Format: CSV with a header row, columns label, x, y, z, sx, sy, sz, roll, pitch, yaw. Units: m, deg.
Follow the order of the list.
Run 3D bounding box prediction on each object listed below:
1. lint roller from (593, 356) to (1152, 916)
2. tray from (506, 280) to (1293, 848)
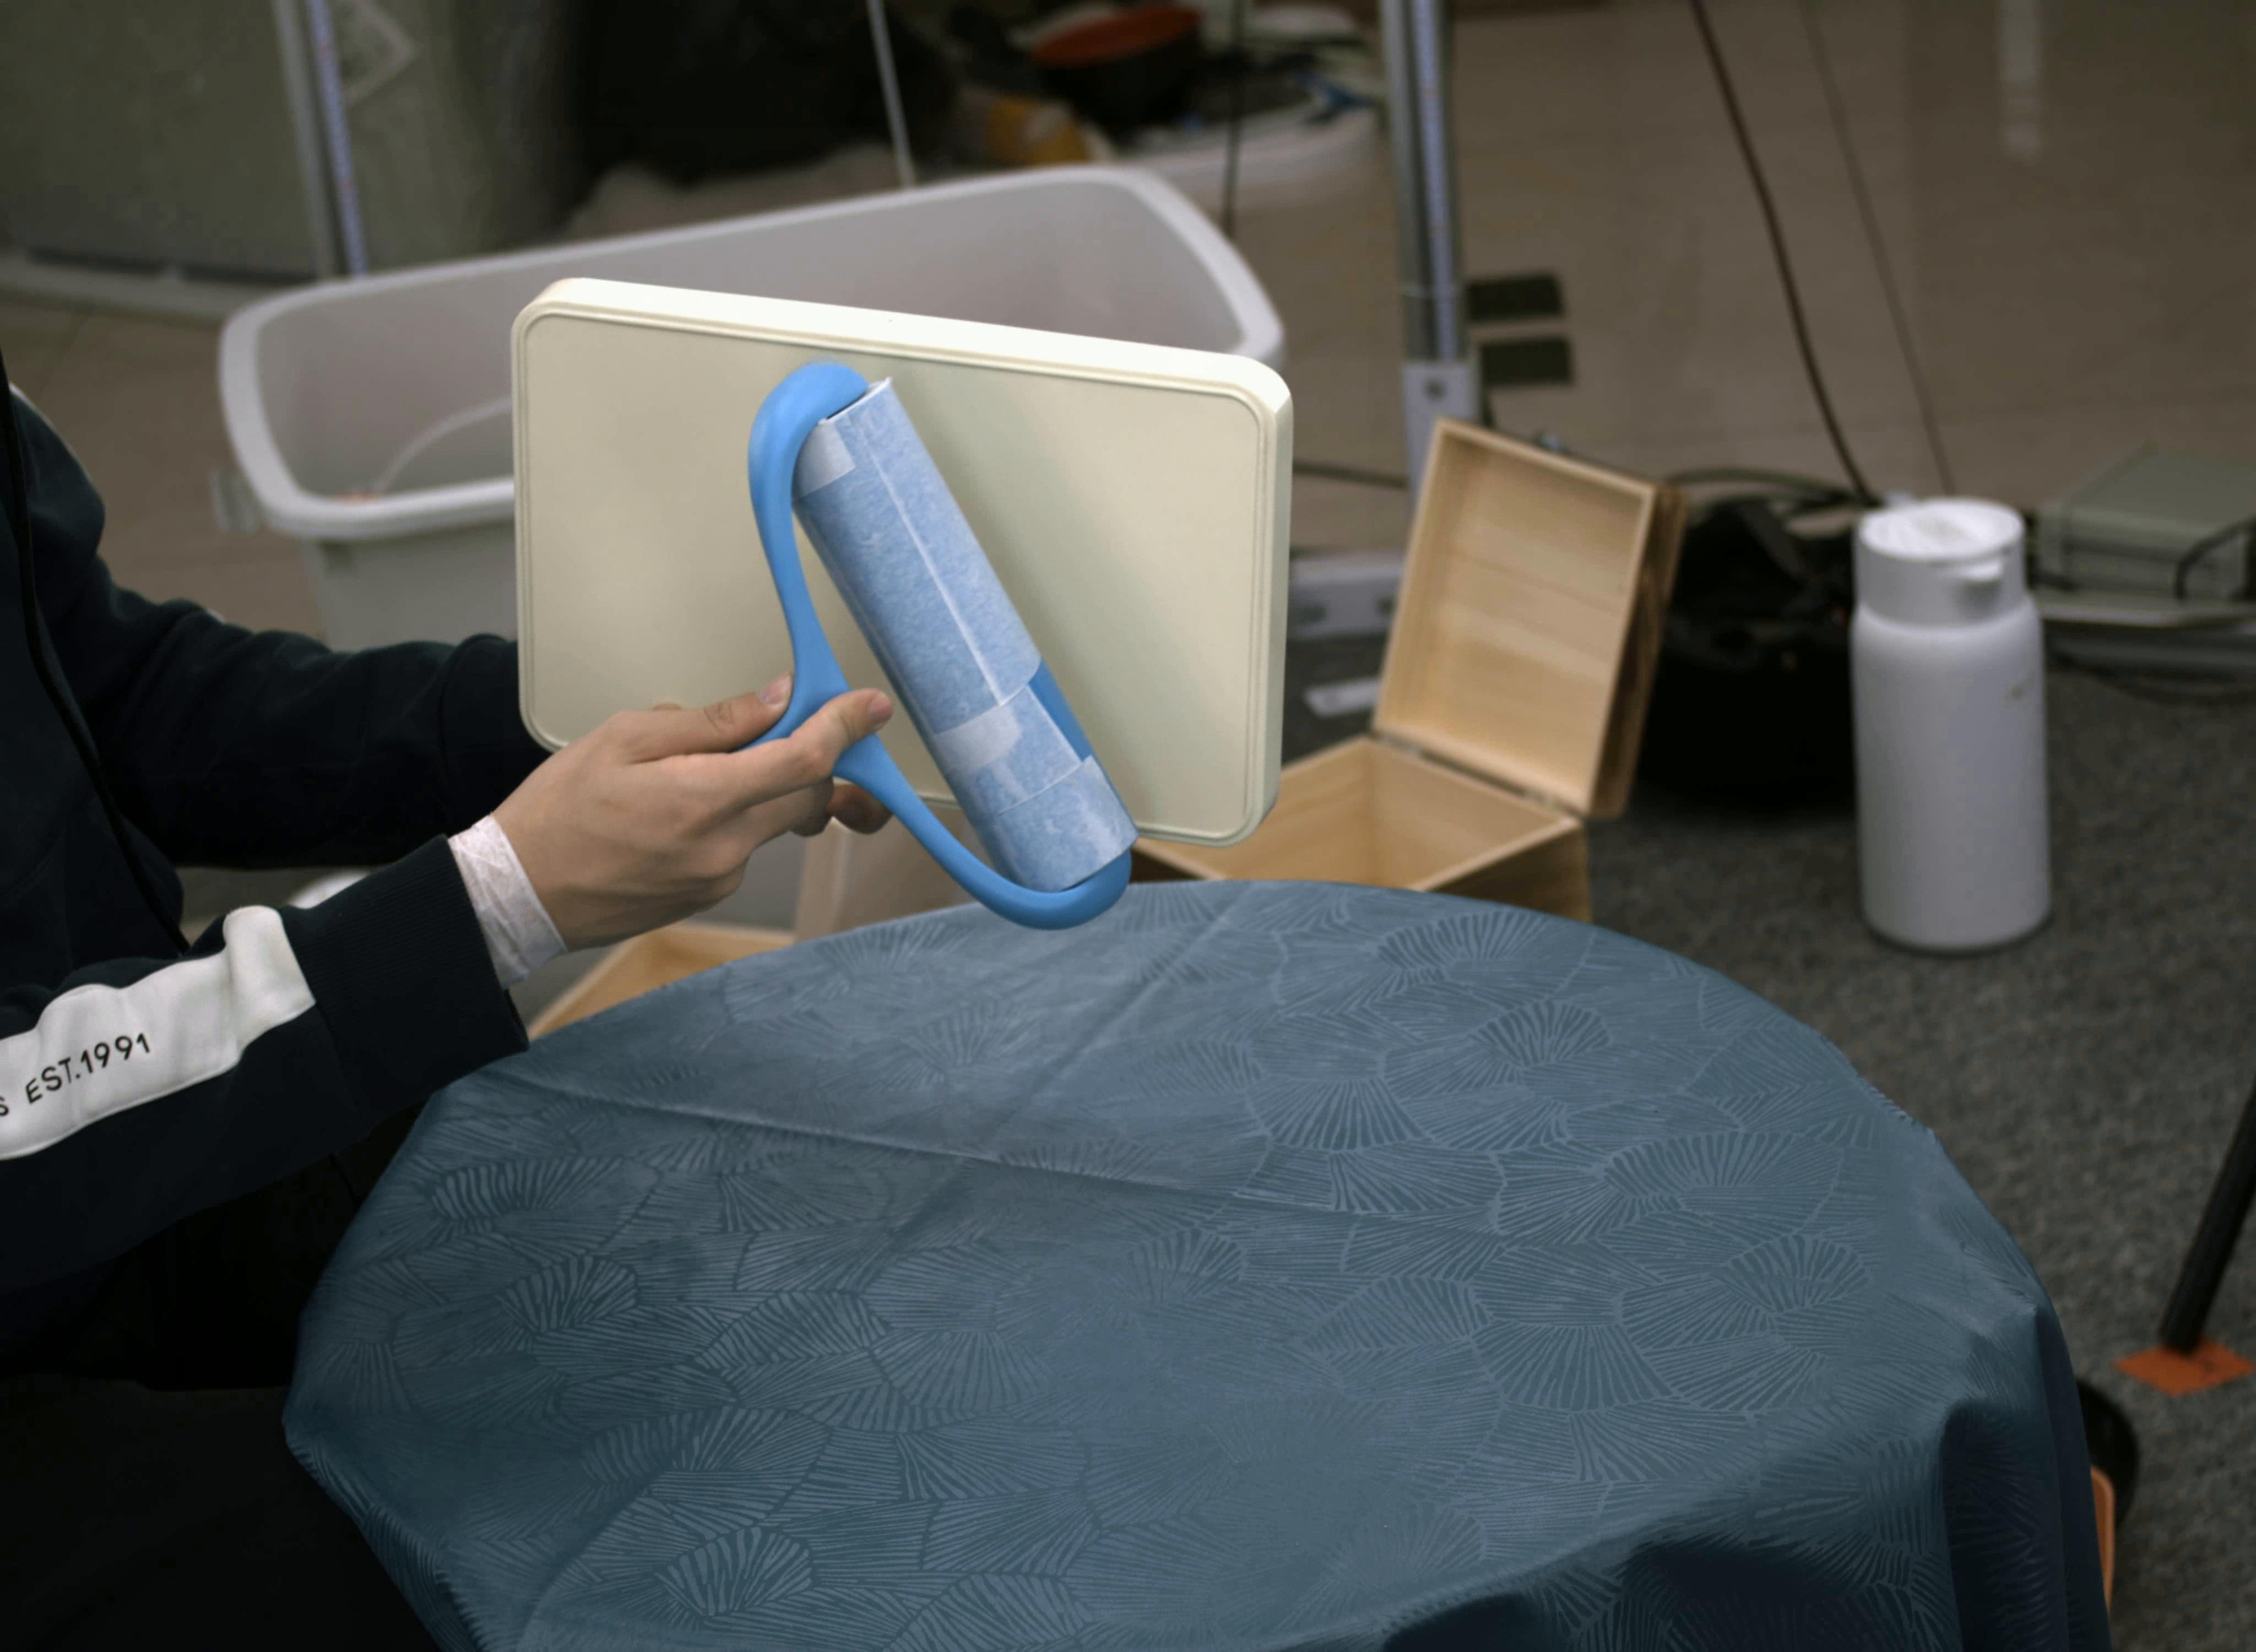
label,x,y,z,sx,sy,sz,roll,pitch,yaw
lint roller,-0.111,-0.036,2.052,0.180,0.231,0.067,-35,15,-7
tray,-0.088,-0.098,2.122,0.299,0.195,0.027,7,27,14
